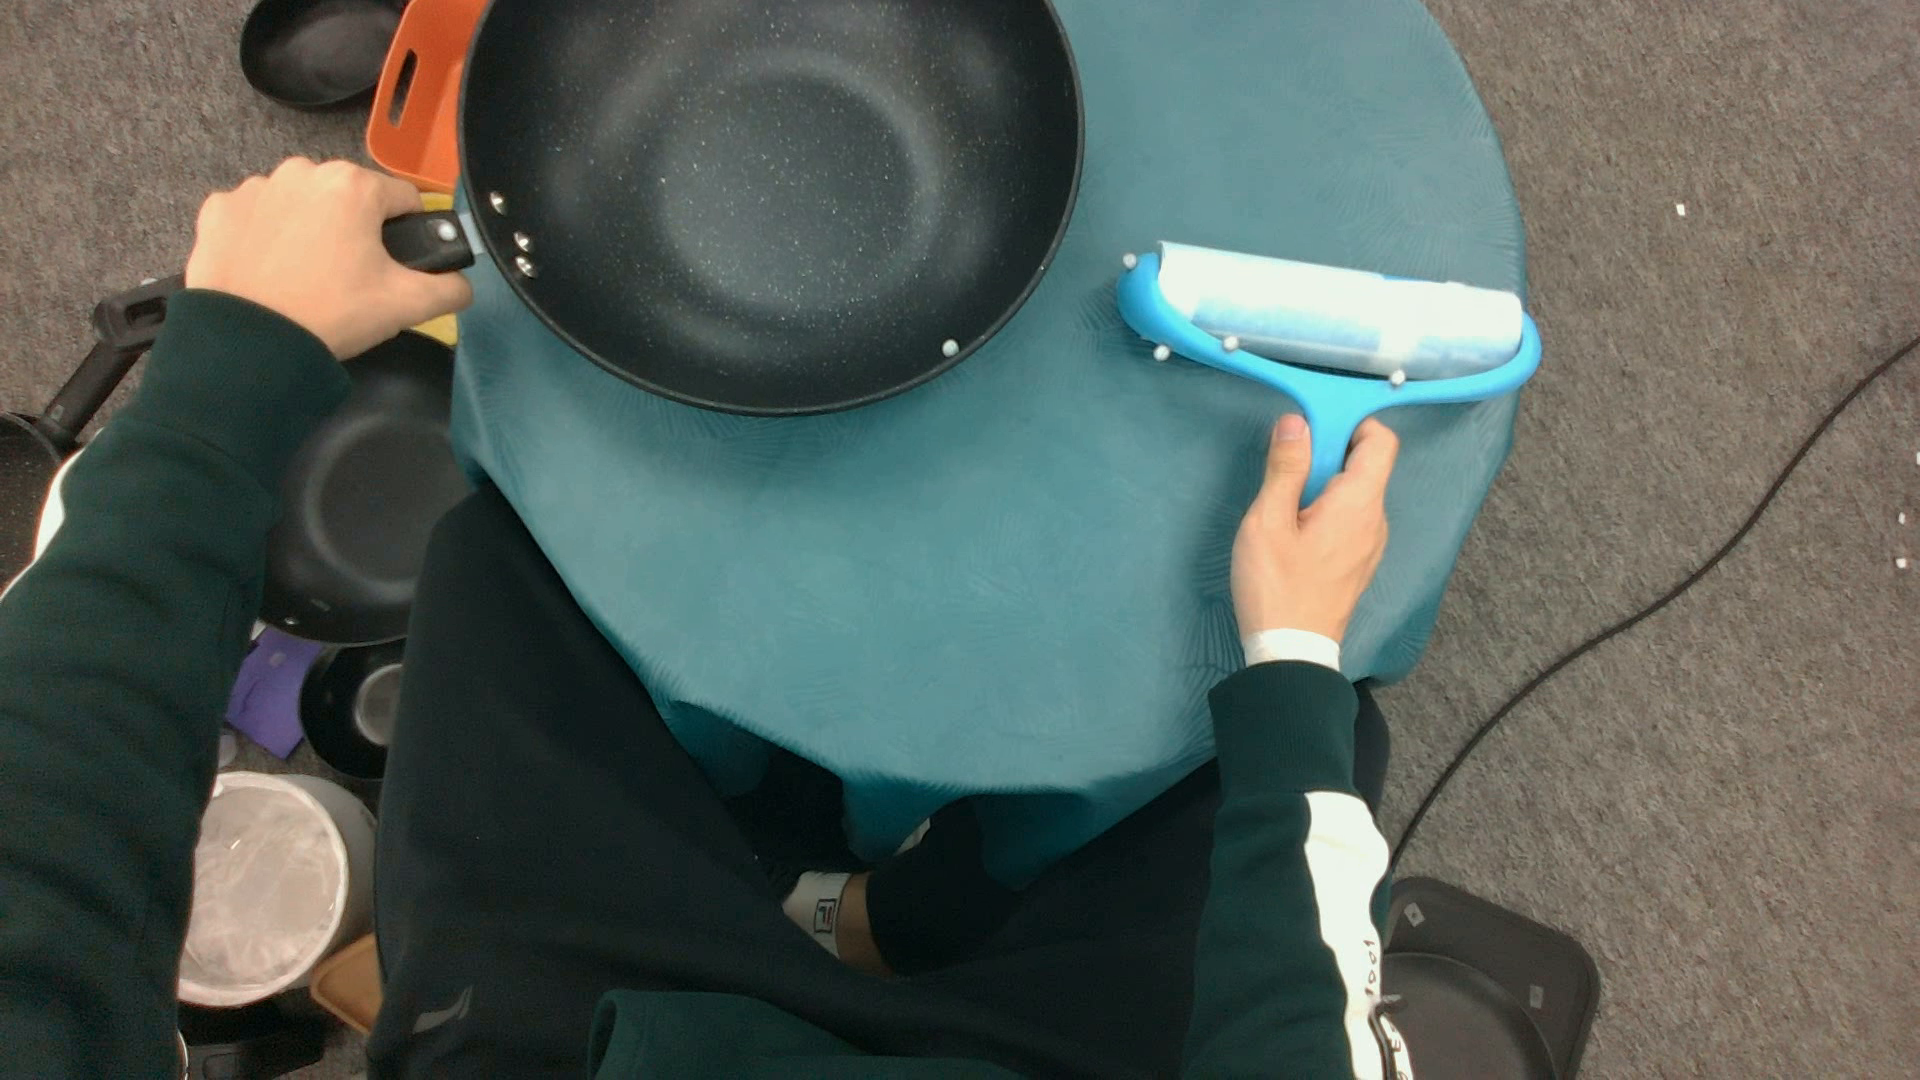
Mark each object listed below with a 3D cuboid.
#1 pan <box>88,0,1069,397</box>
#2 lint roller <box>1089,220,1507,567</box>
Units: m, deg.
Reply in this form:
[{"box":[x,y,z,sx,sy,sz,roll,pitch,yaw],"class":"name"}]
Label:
[{"box":[-0.176,-0.178,0.700,0.477,0.111,0.310,-25,80,-10],"class":"pan"},{"box":[0.182,-0.079,0.736,0.229,0.068,0.180,4,77,-6],"class":"lint roller"}]
